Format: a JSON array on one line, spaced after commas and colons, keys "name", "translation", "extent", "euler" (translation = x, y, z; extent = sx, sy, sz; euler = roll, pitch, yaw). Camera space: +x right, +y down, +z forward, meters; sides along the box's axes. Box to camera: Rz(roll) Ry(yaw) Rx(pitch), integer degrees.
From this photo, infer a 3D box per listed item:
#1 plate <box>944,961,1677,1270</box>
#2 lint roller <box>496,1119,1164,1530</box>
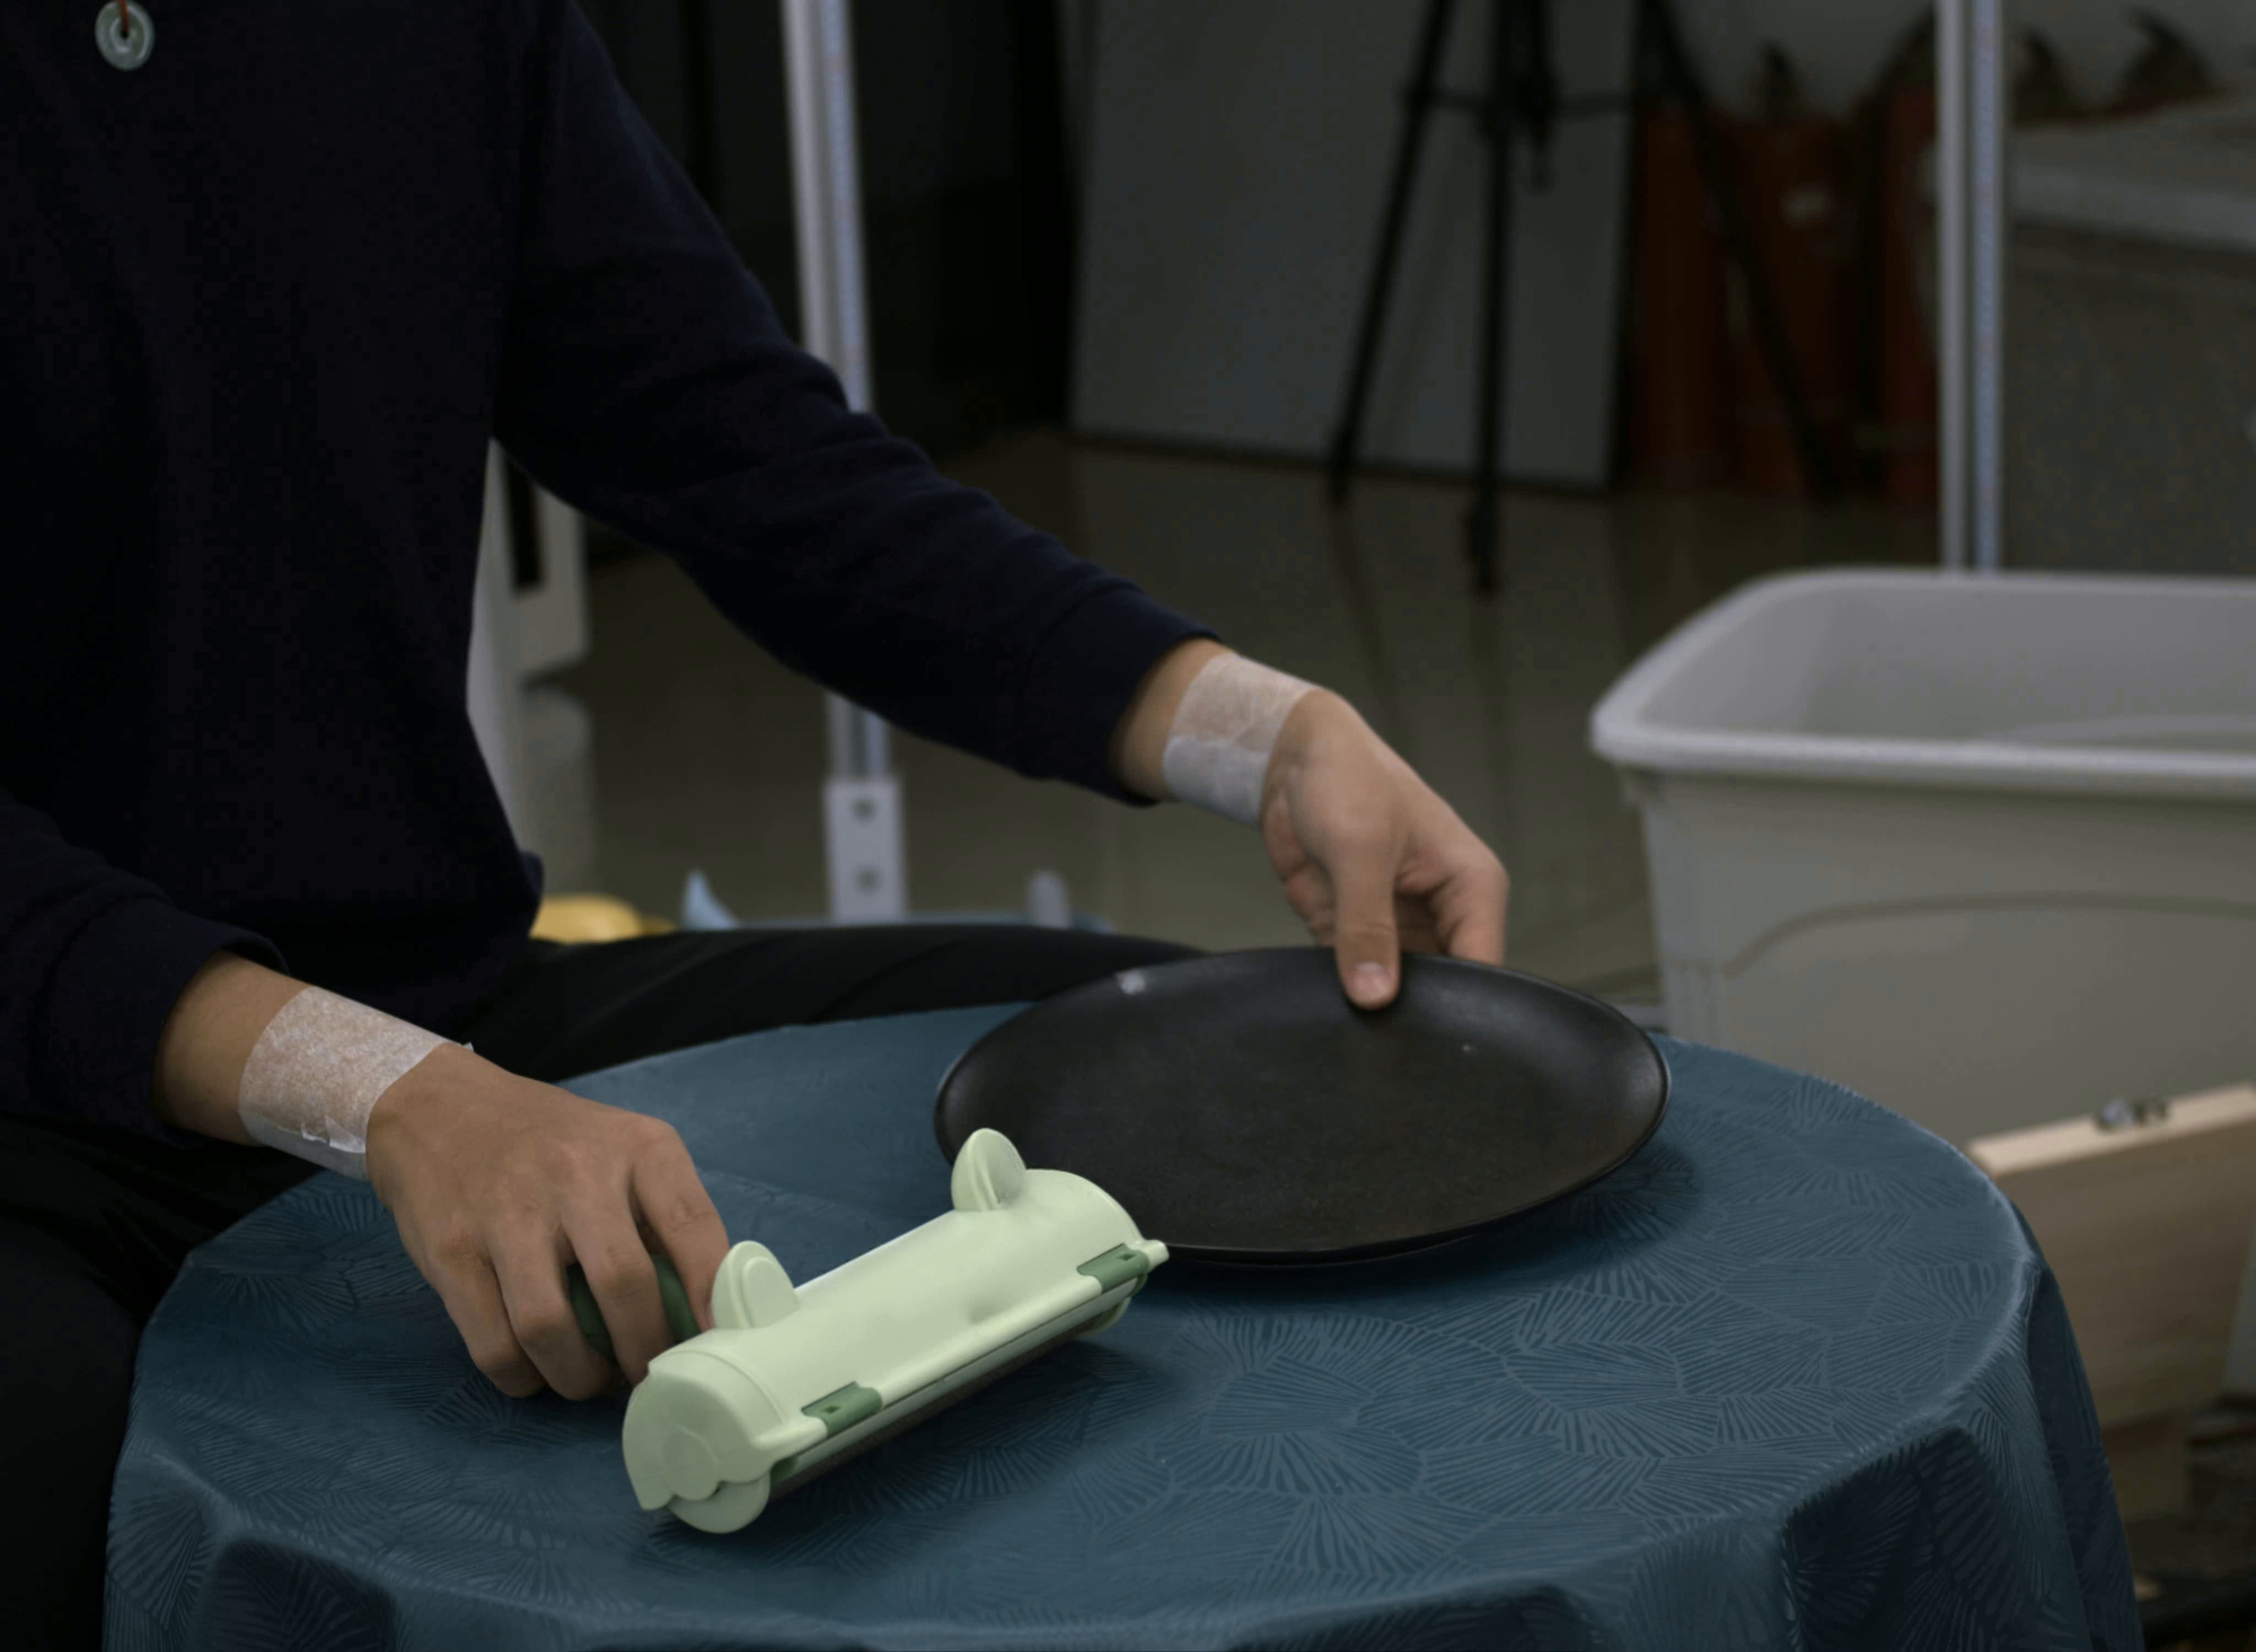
[{"name": "plate", "translation": [0.060, 0.097, 1.764], "extent": [0.241, 0.023, 0.245], "euler": [-5, 19, 1]}, {"name": "lint roller", "translation": [-0.113, 0.129, 1.583], "extent": [0.184, 0.083, 0.195], "euler": [15, 21, 32]}]
